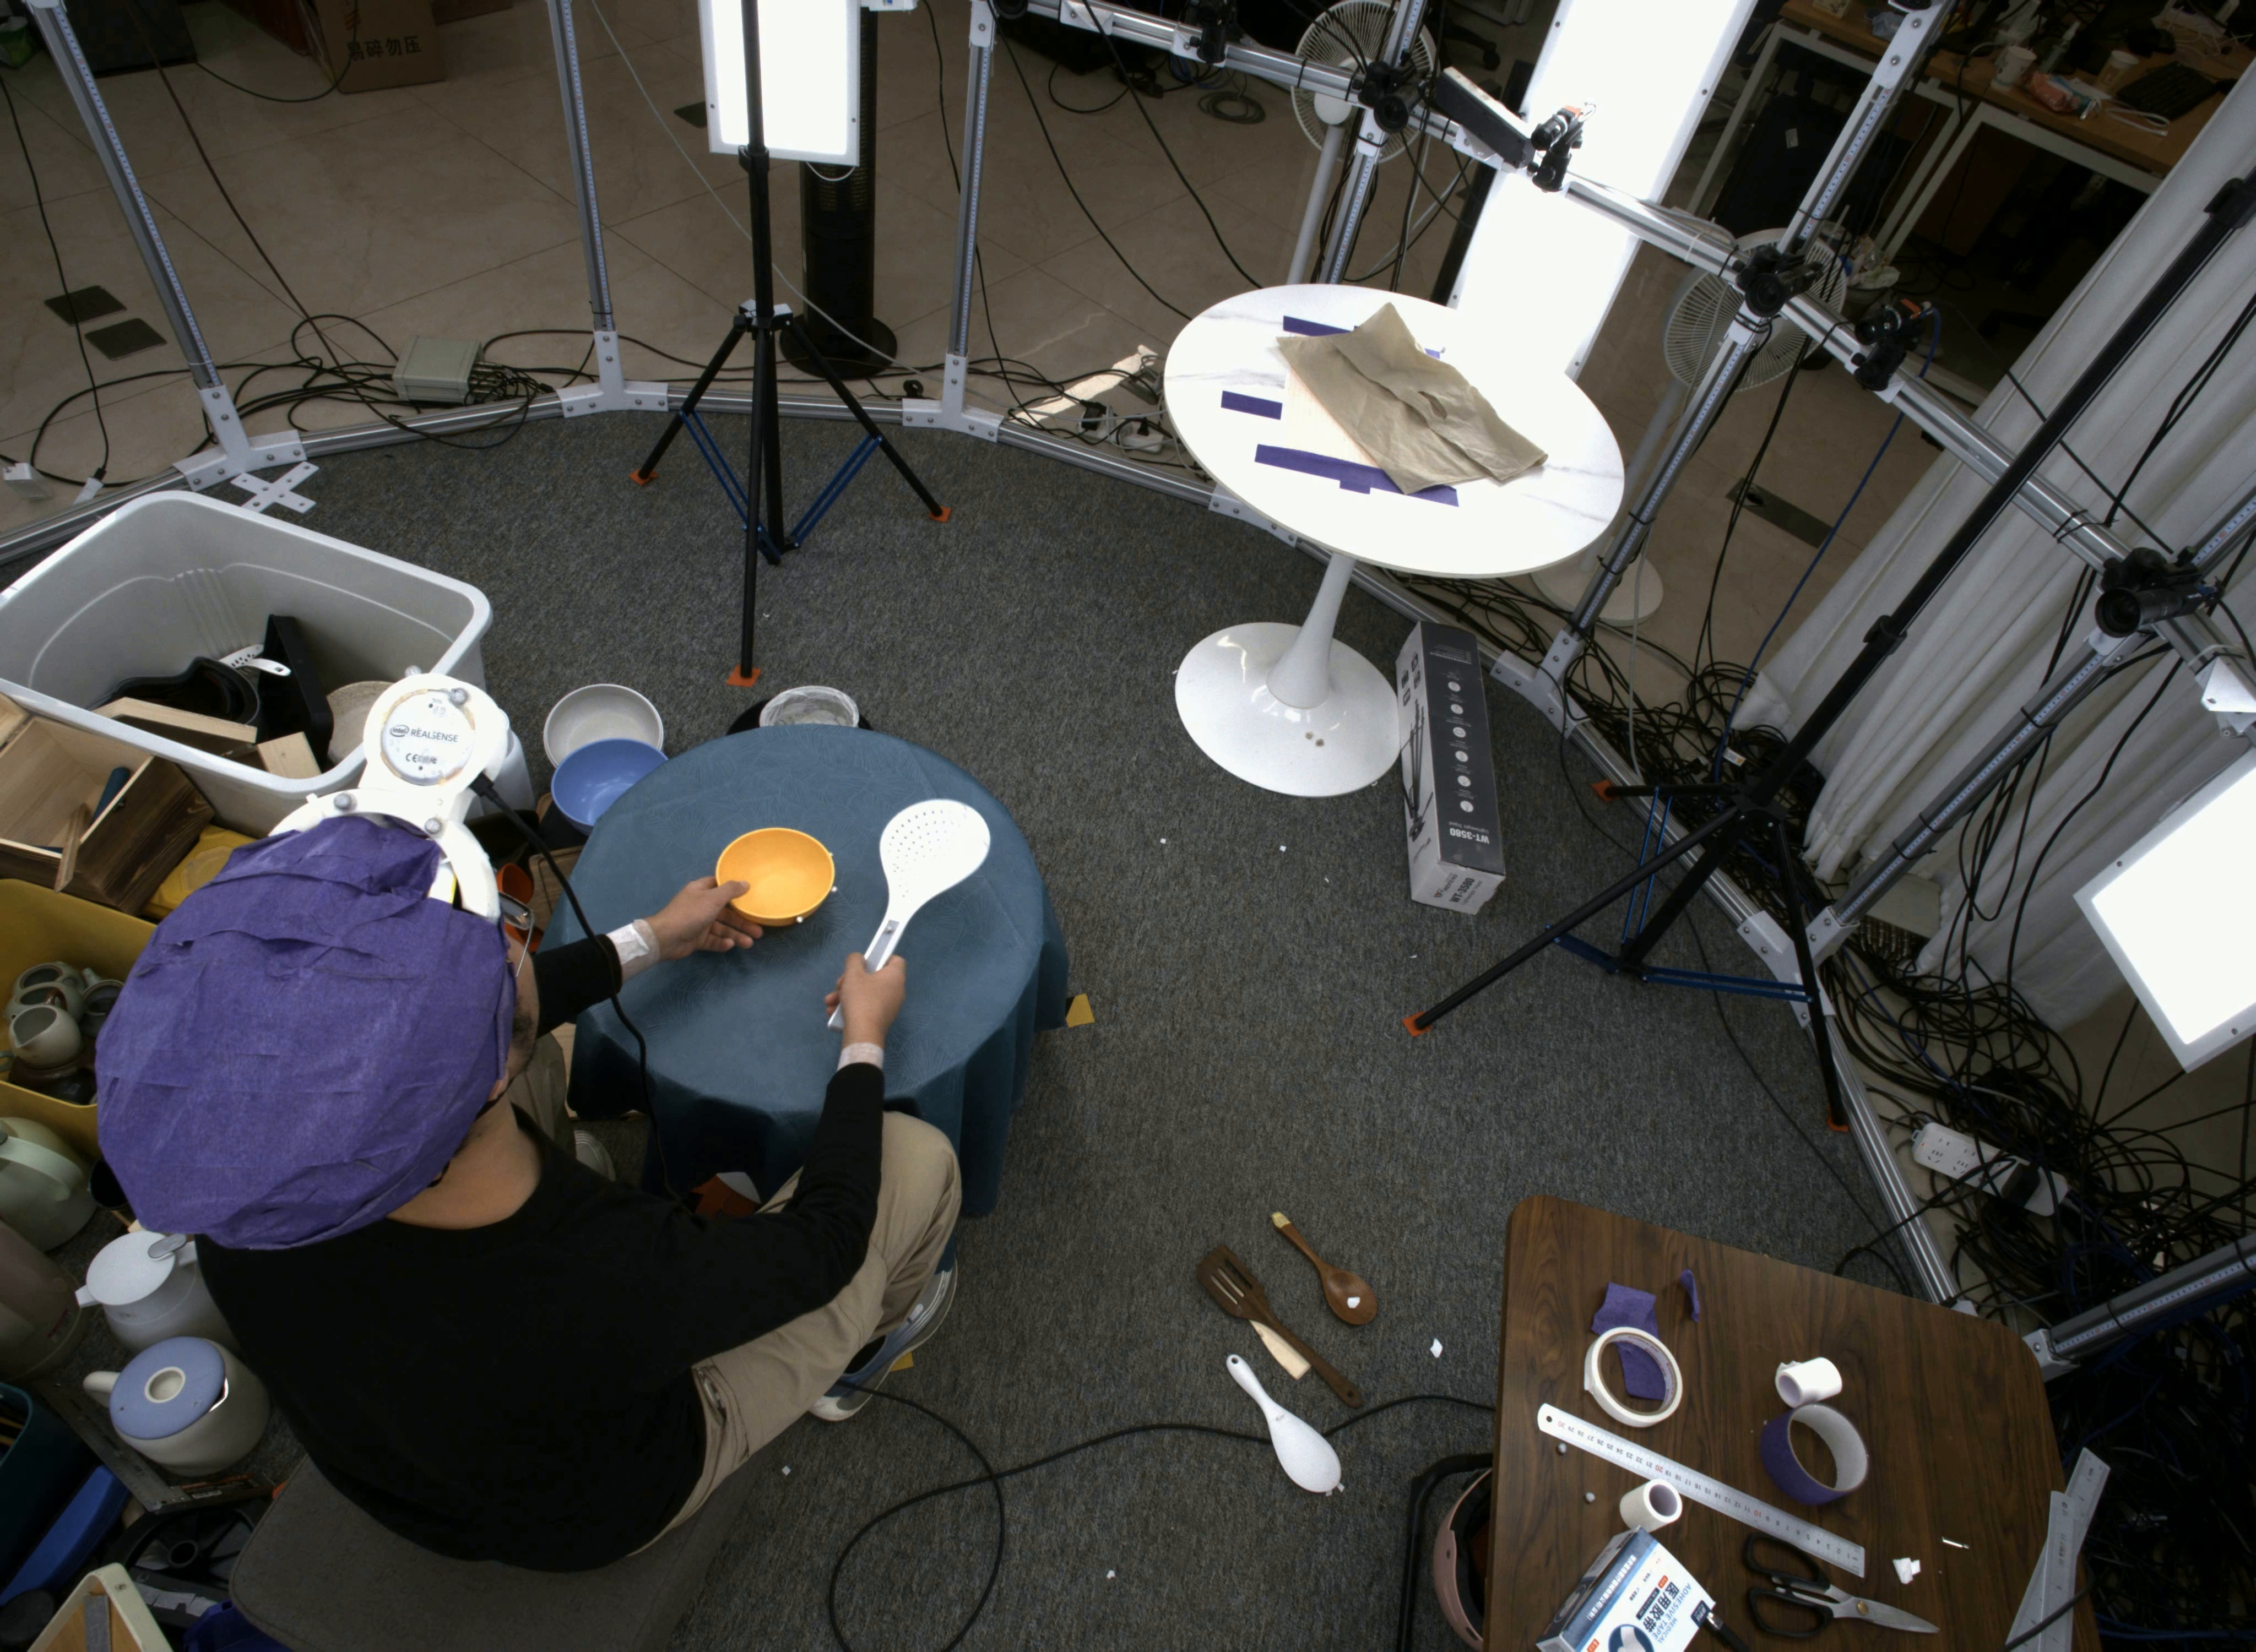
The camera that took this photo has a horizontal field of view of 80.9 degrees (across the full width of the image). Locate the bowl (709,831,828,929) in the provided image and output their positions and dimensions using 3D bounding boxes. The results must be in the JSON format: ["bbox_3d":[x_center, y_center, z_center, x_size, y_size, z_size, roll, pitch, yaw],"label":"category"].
[{"bbox_3d":[-0.447,0.077,1.617,0.145,0.061,0.142,8,47,-7],"label":"bowl"}]

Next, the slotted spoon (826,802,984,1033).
[{"bbox_3d":[-0.280,0.102,1.573,0.134,0.047,0.346,17,46,6],"label":"slotted spoon"}]
